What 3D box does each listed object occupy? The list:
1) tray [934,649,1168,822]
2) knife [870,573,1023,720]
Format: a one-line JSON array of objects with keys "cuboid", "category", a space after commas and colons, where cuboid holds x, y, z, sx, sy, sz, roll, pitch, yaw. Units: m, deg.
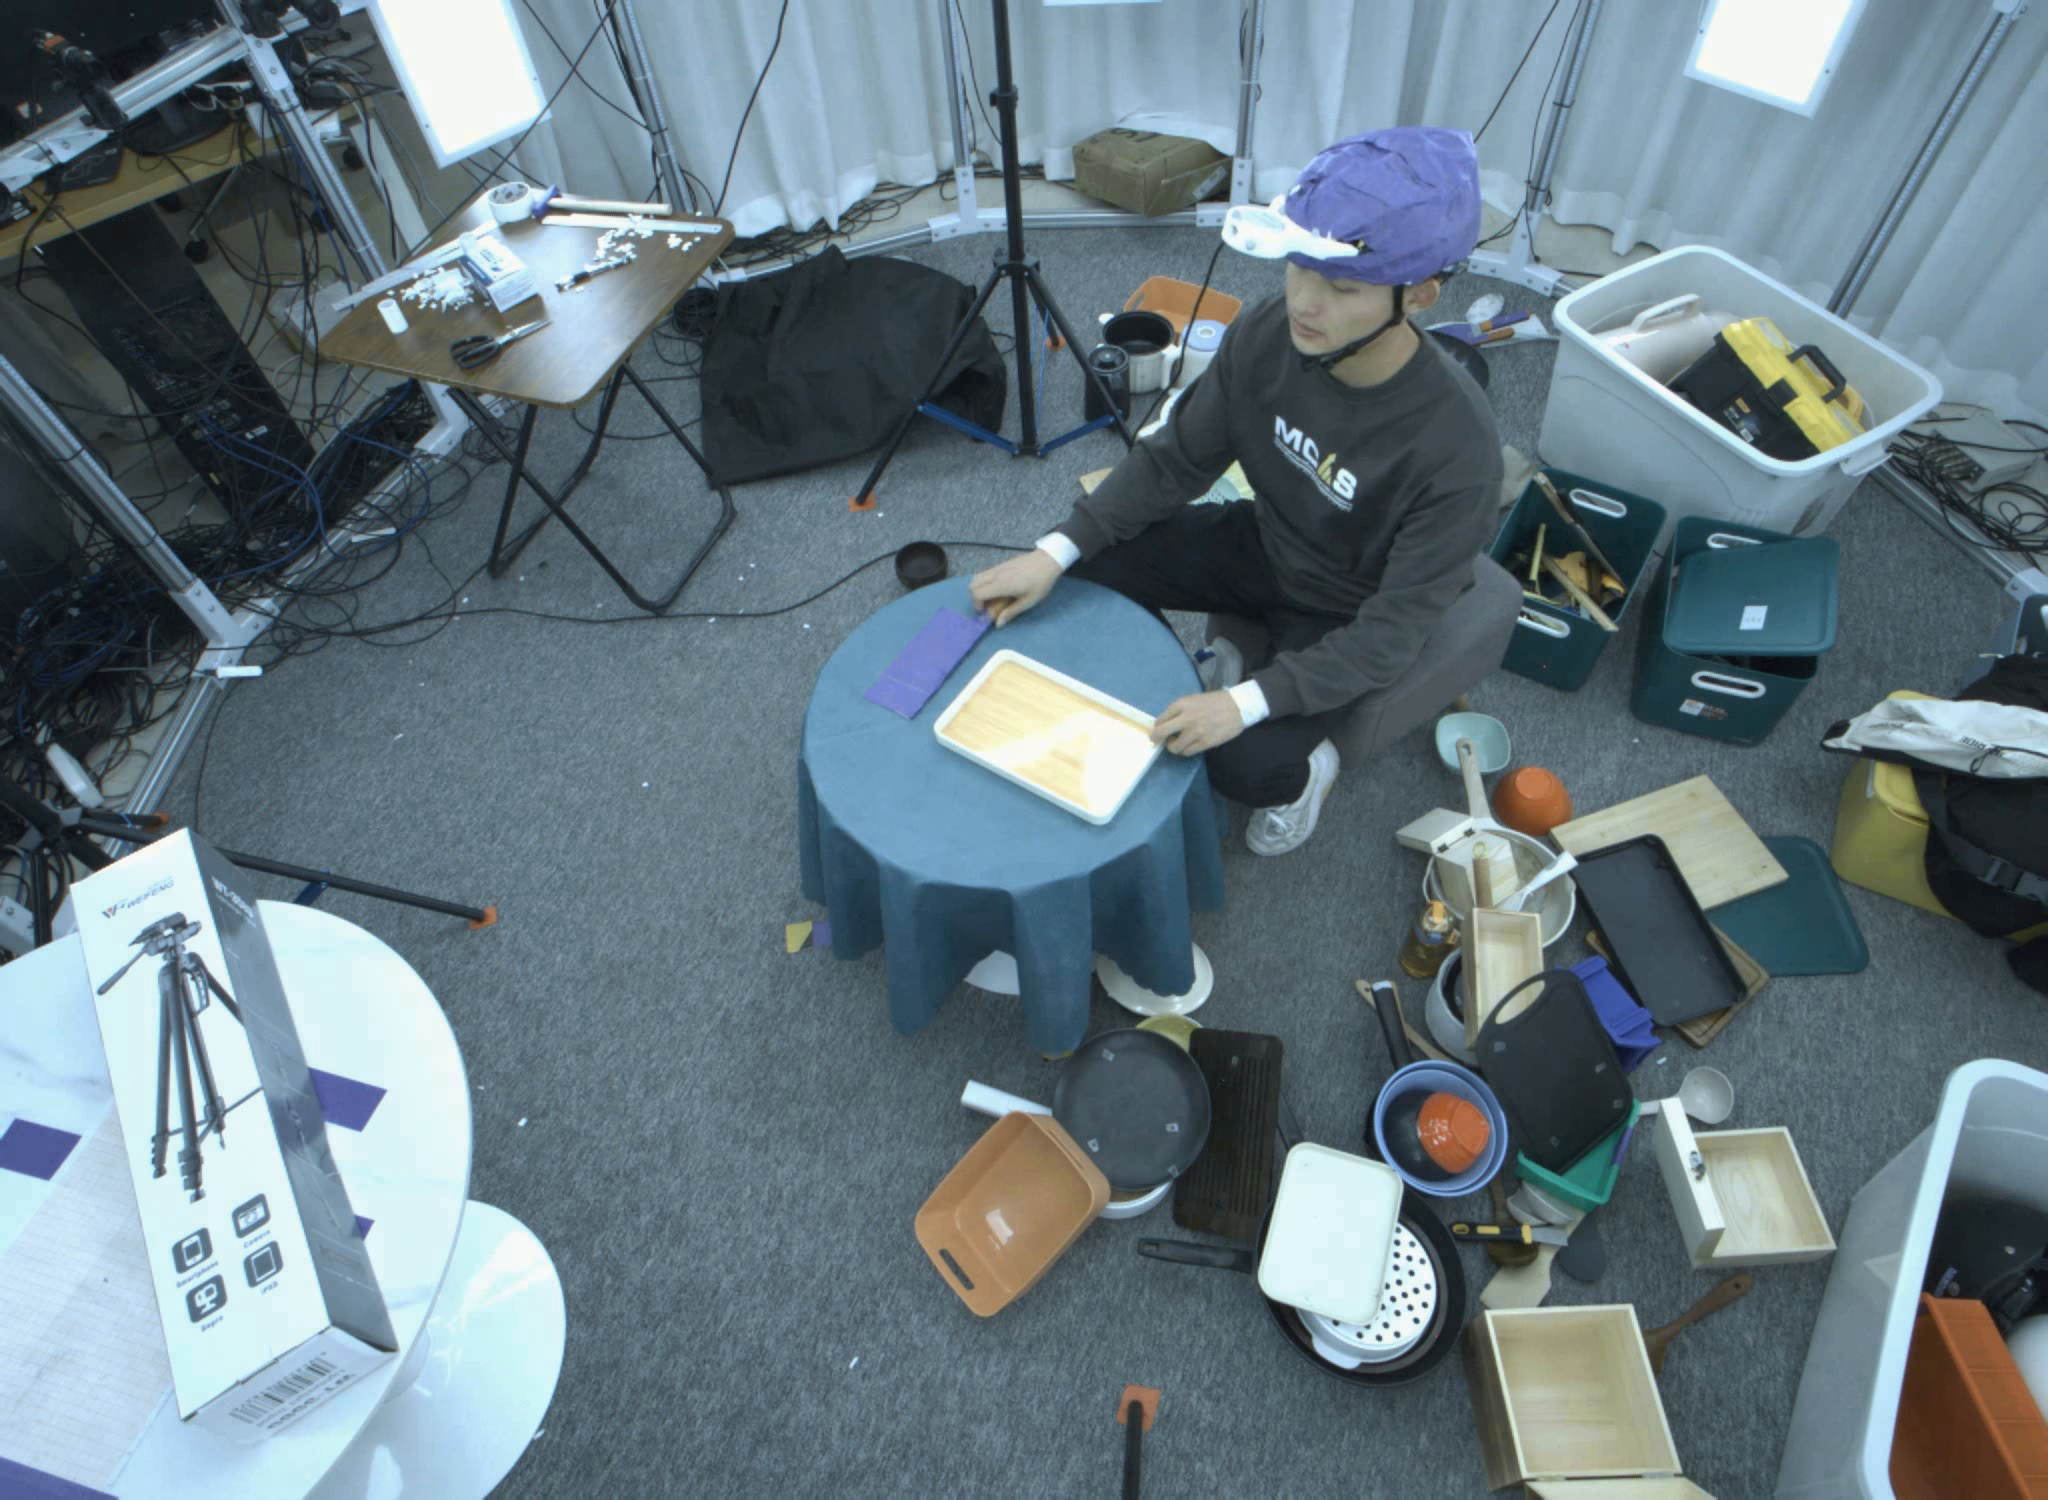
[{"cuboid": [0.039, -0.026, 1.796, 0.296, 0.028, 0.192, 27, 59, 19], "category": "tray"}, {"cuboid": [-0.122, -0.176, 1.907, 0.102, 0.032, 0.316, 26, 60, 19], "category": "knife"}]
